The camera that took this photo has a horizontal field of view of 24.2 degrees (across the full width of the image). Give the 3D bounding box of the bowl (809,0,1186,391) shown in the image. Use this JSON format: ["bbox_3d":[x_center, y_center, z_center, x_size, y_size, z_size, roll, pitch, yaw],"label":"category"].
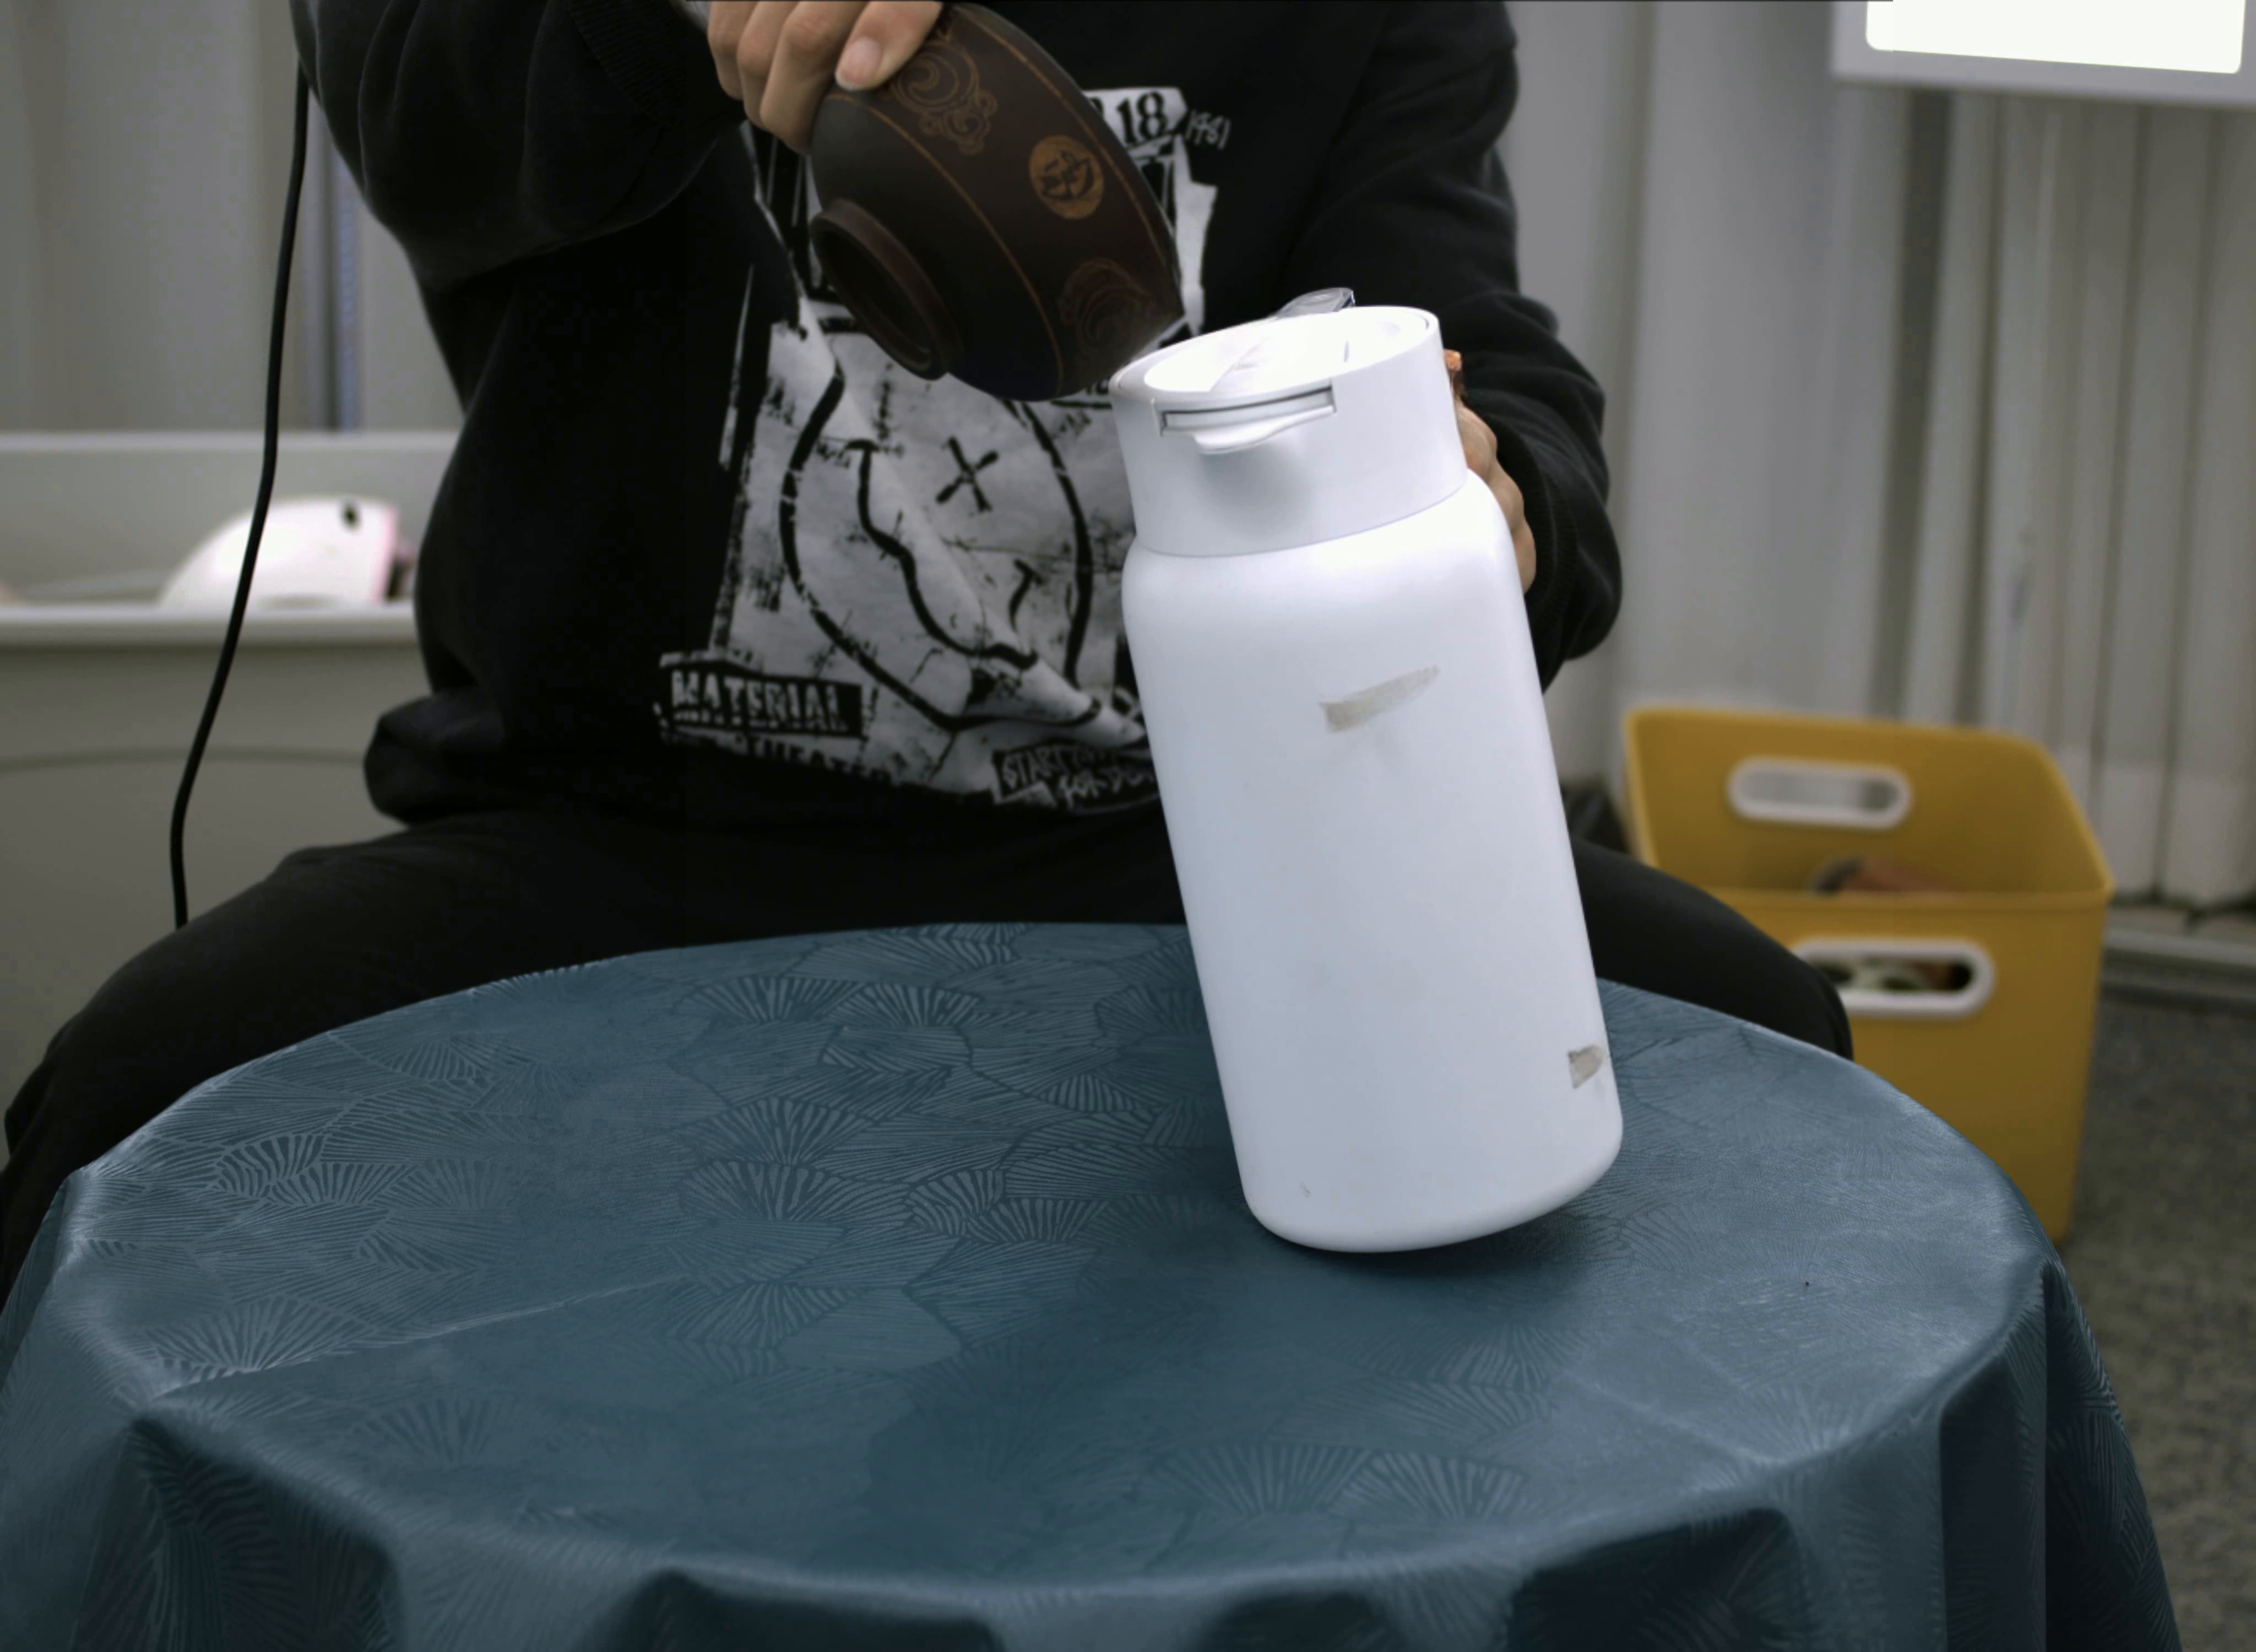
[{"bbox_3d":[-0.046,-0.172,1.481,0.070,0.119,0.116,-39,29,-14],"label":"bowl"}]

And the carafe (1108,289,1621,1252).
[{"bbox_3d":[0.070,-0.021,1.577,0.123,0.271,0.172,-9,17,16],"label":"carafe"}]
